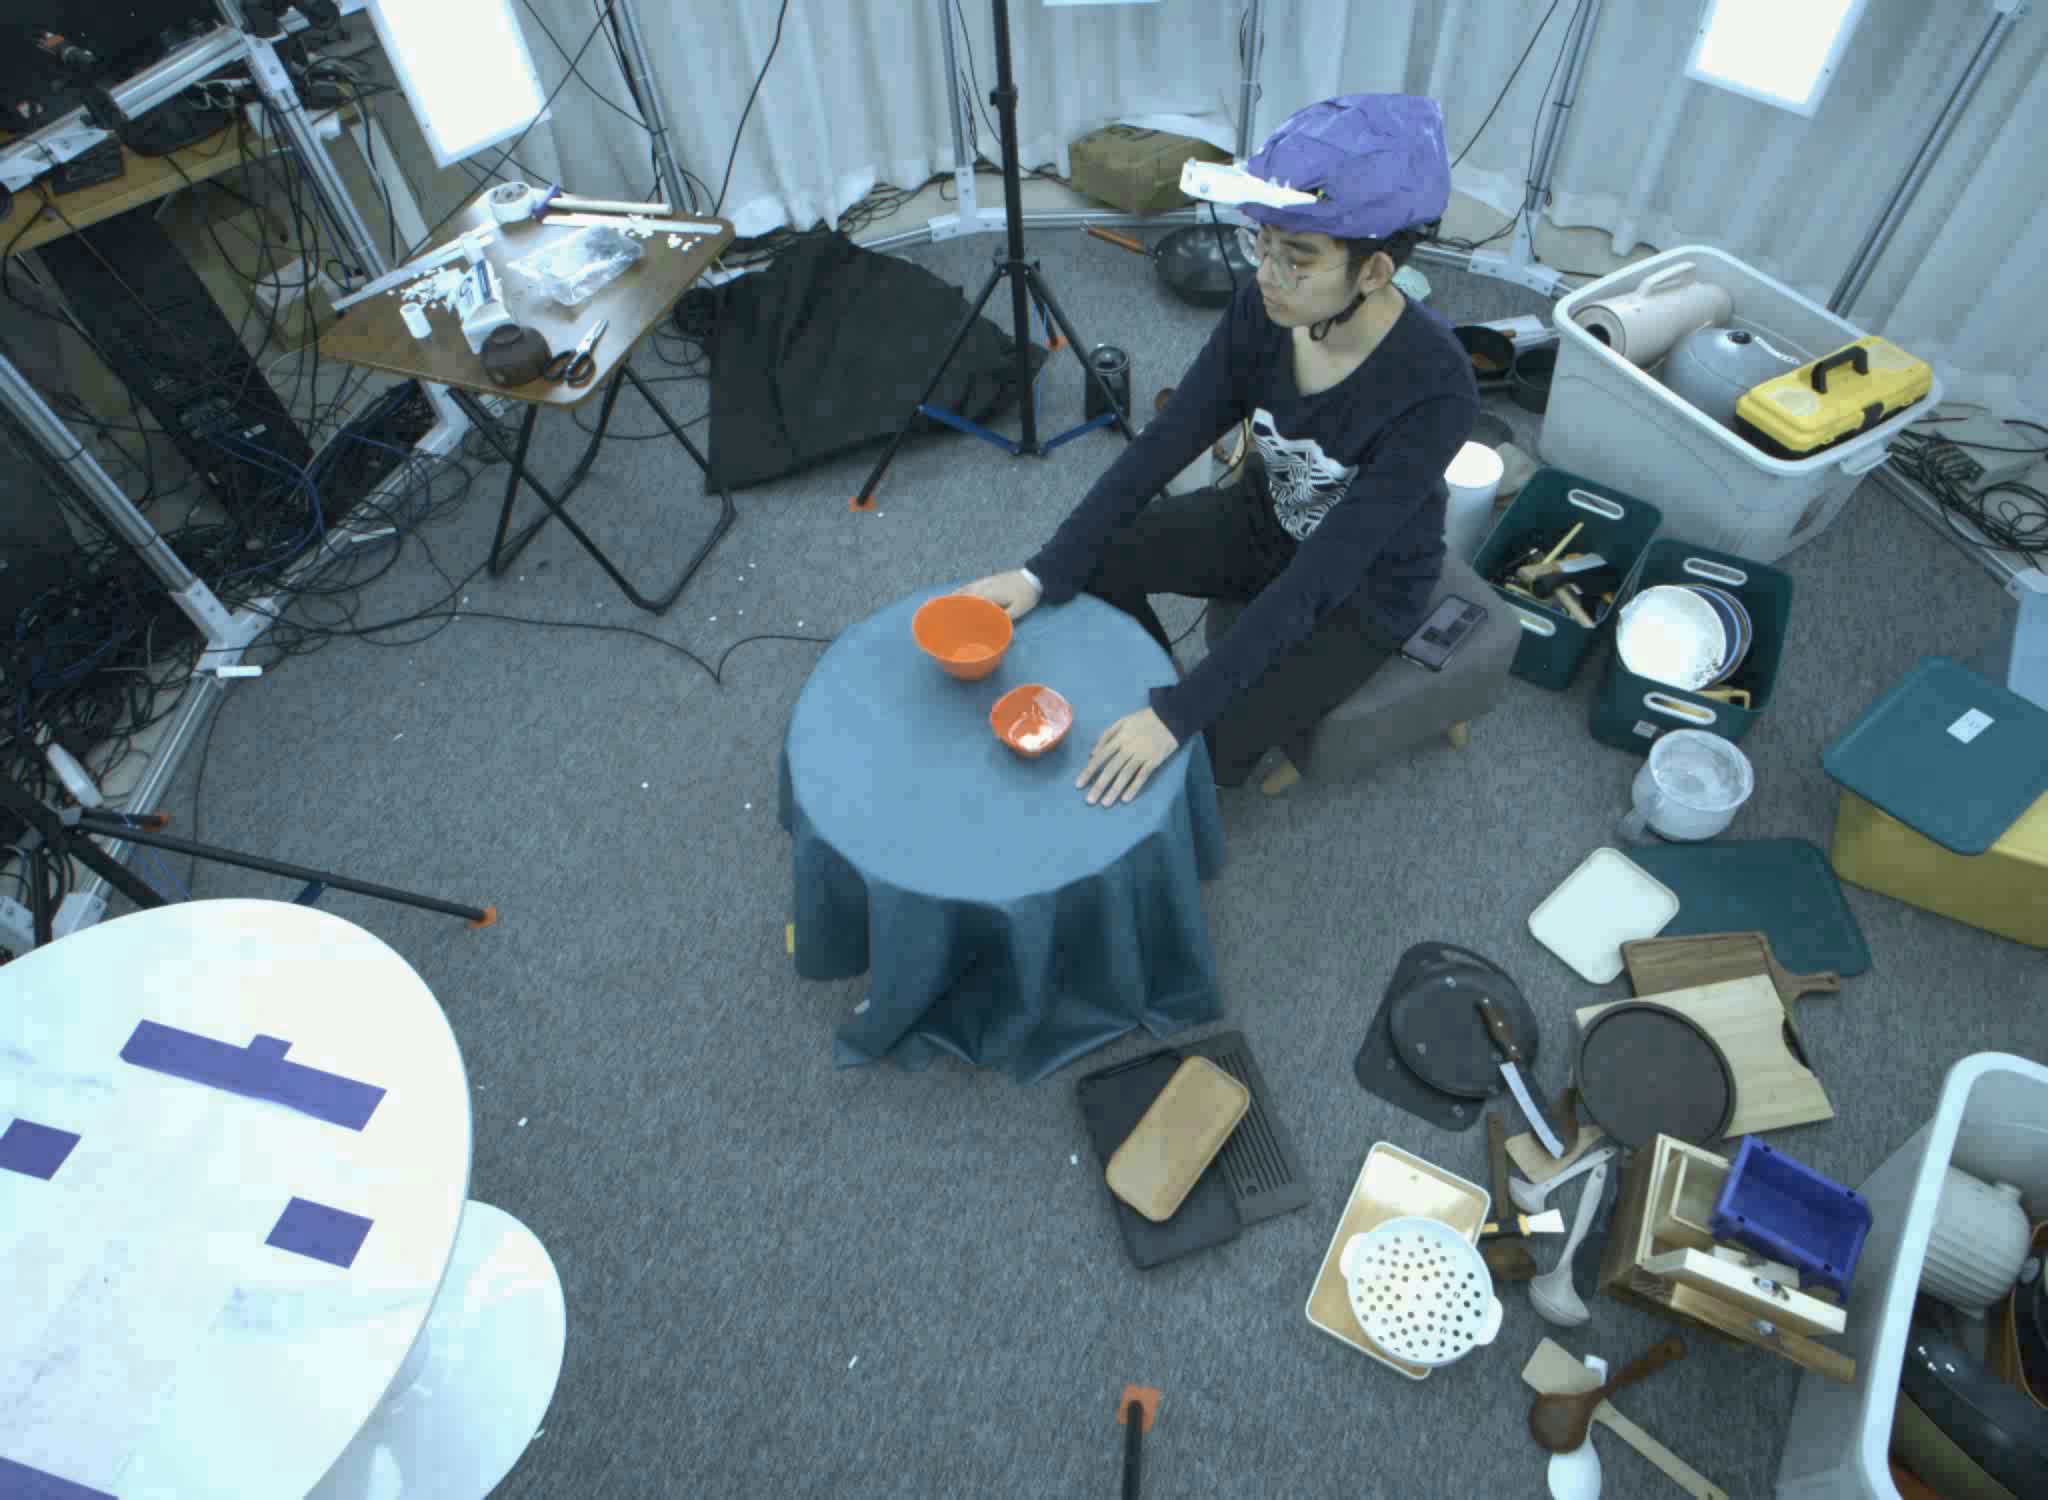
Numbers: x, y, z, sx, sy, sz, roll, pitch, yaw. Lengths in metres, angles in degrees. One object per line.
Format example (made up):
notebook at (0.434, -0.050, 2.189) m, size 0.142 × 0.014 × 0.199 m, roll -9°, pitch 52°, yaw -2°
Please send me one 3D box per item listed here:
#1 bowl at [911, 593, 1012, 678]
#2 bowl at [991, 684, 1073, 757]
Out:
bowl at (-0.091, -0.160, 1.849) m, size 0.148 × 0.106 × 0.146 m, roll -1°, pitch 54°, yaw 2°
bowl at (0.013, -0.035, 1.789) m, size 0.119 × 0.052 × 0.117 m, roll -1°, pitch 53°, yaw 2°
